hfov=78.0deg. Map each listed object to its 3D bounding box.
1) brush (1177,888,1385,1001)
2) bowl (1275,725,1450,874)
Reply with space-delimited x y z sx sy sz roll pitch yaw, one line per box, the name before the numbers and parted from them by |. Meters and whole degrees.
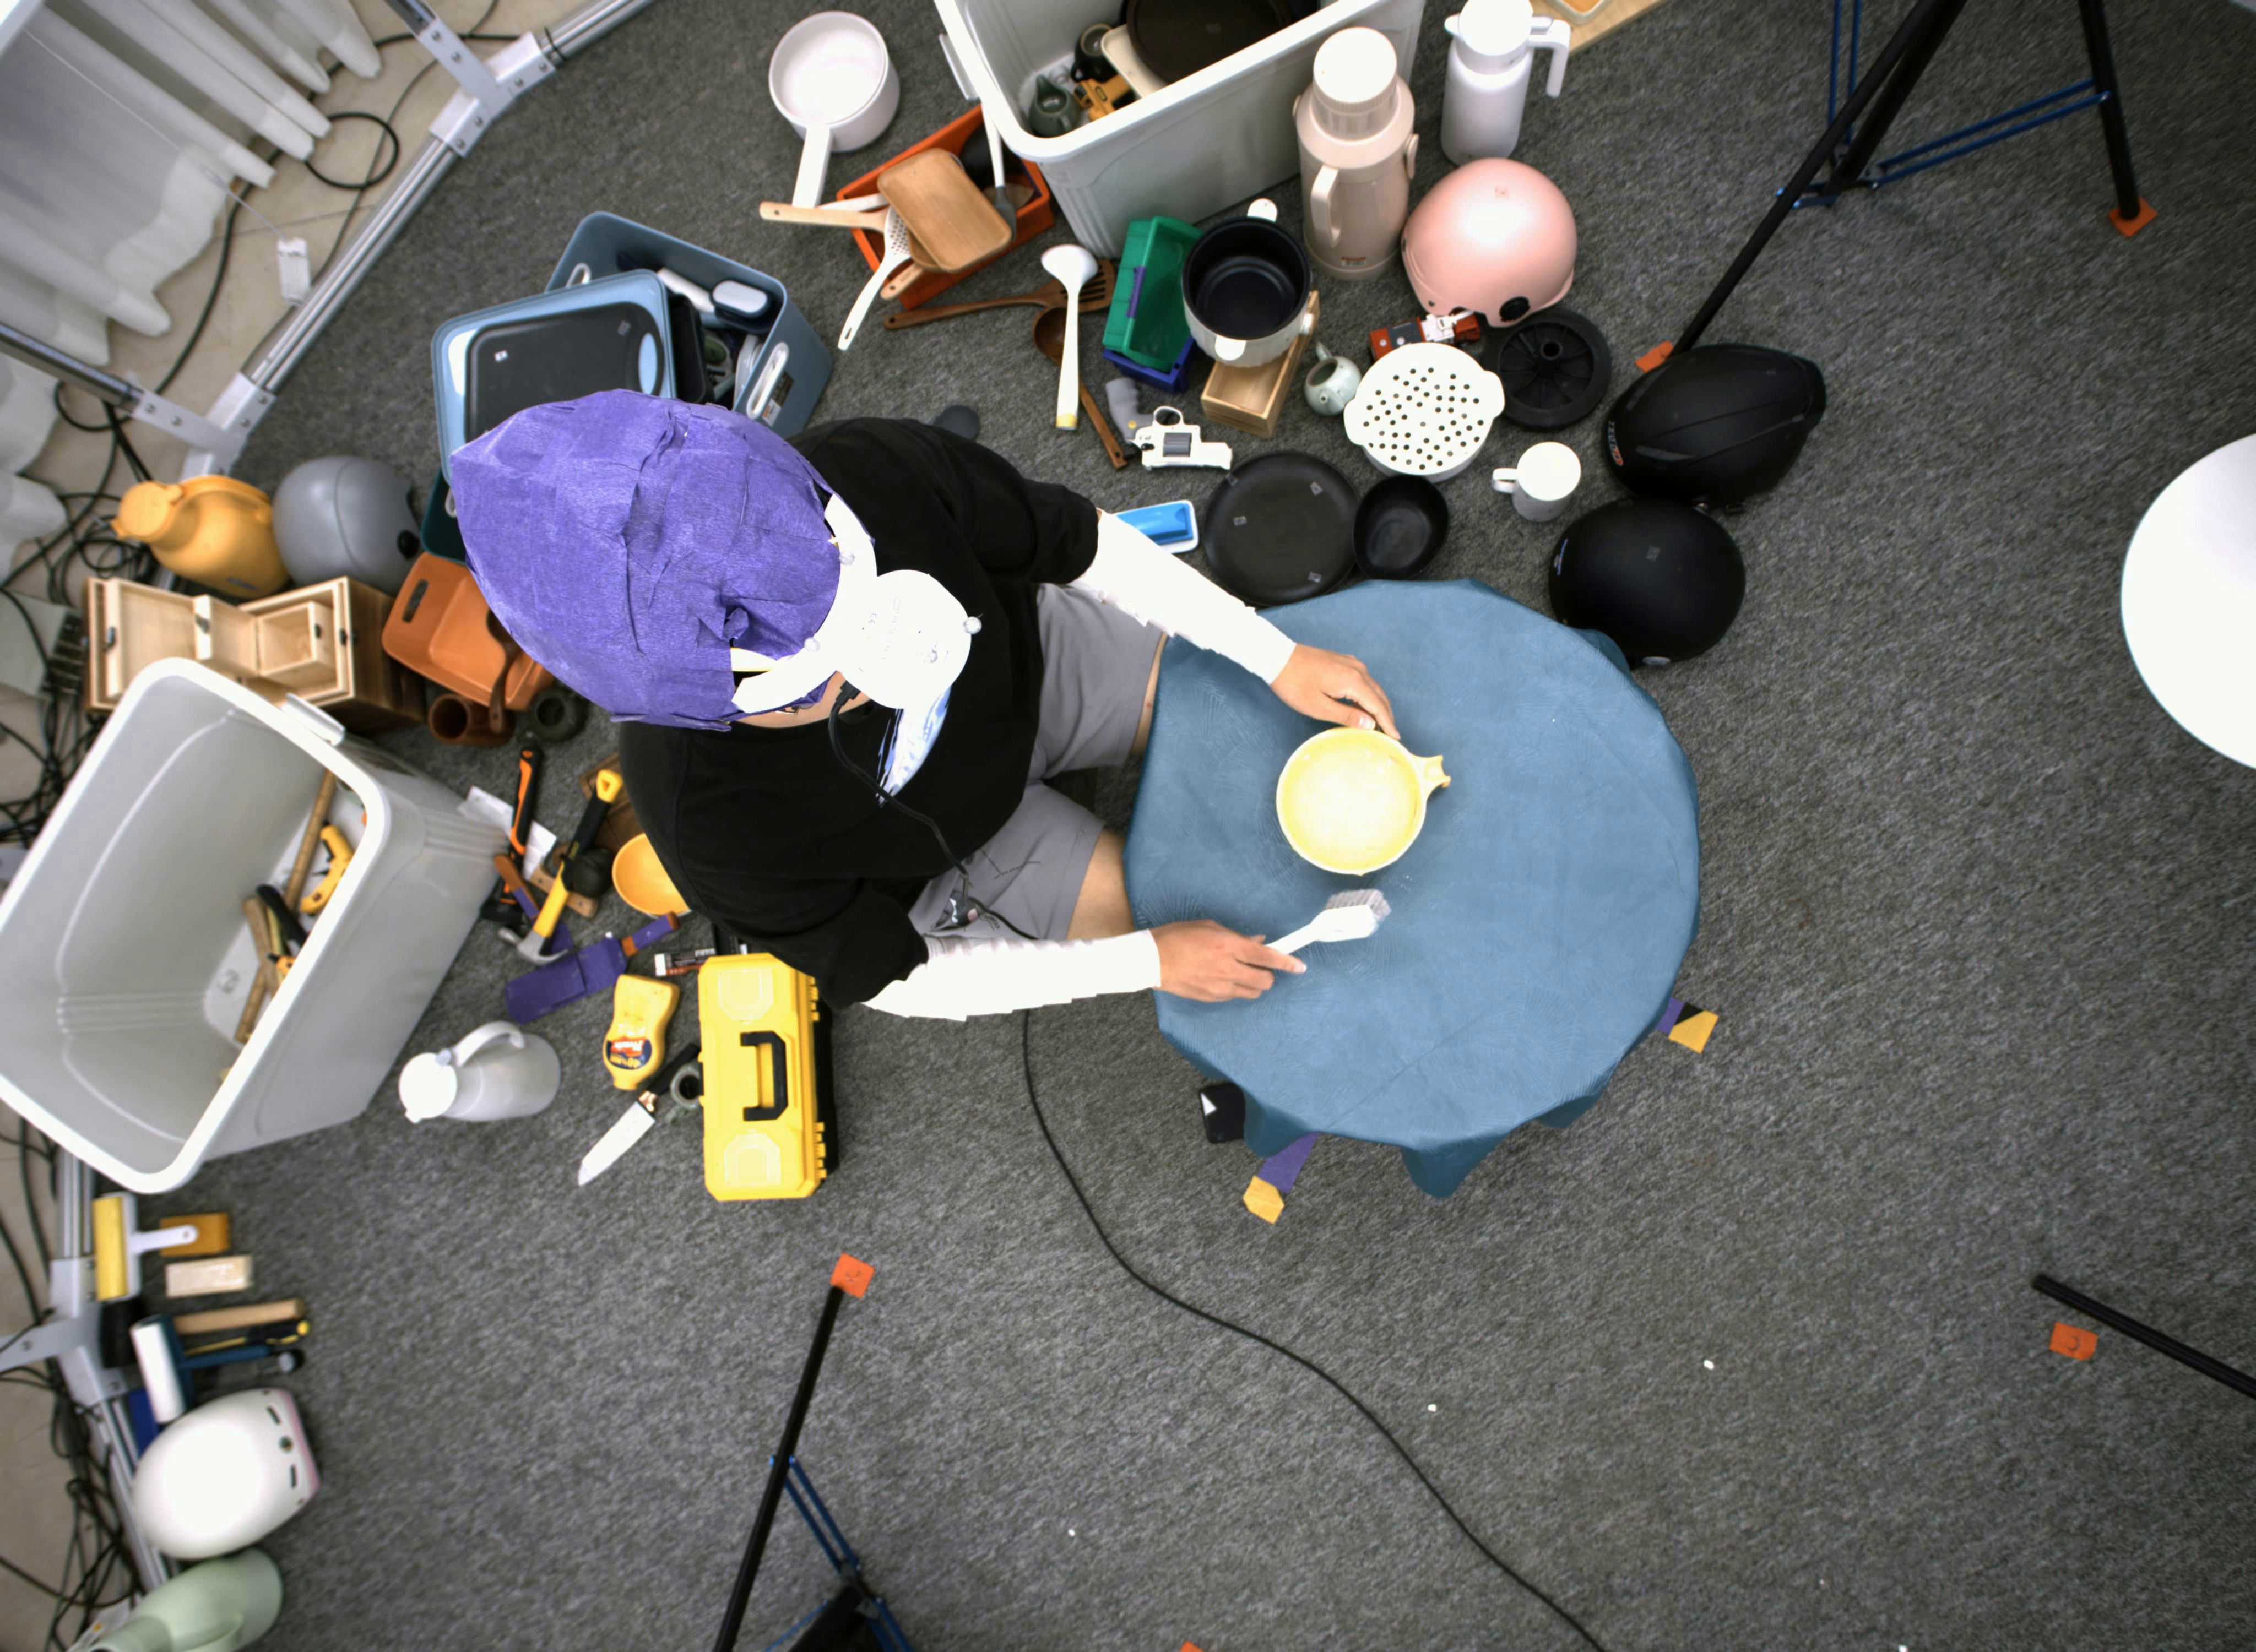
brush | 0.154 0.121 1.434 0.248 0.049 0.035 -26 121 31
bowl | 0.245 -0.028 1.434 0.180 0.074 0.151 -22 79 8
